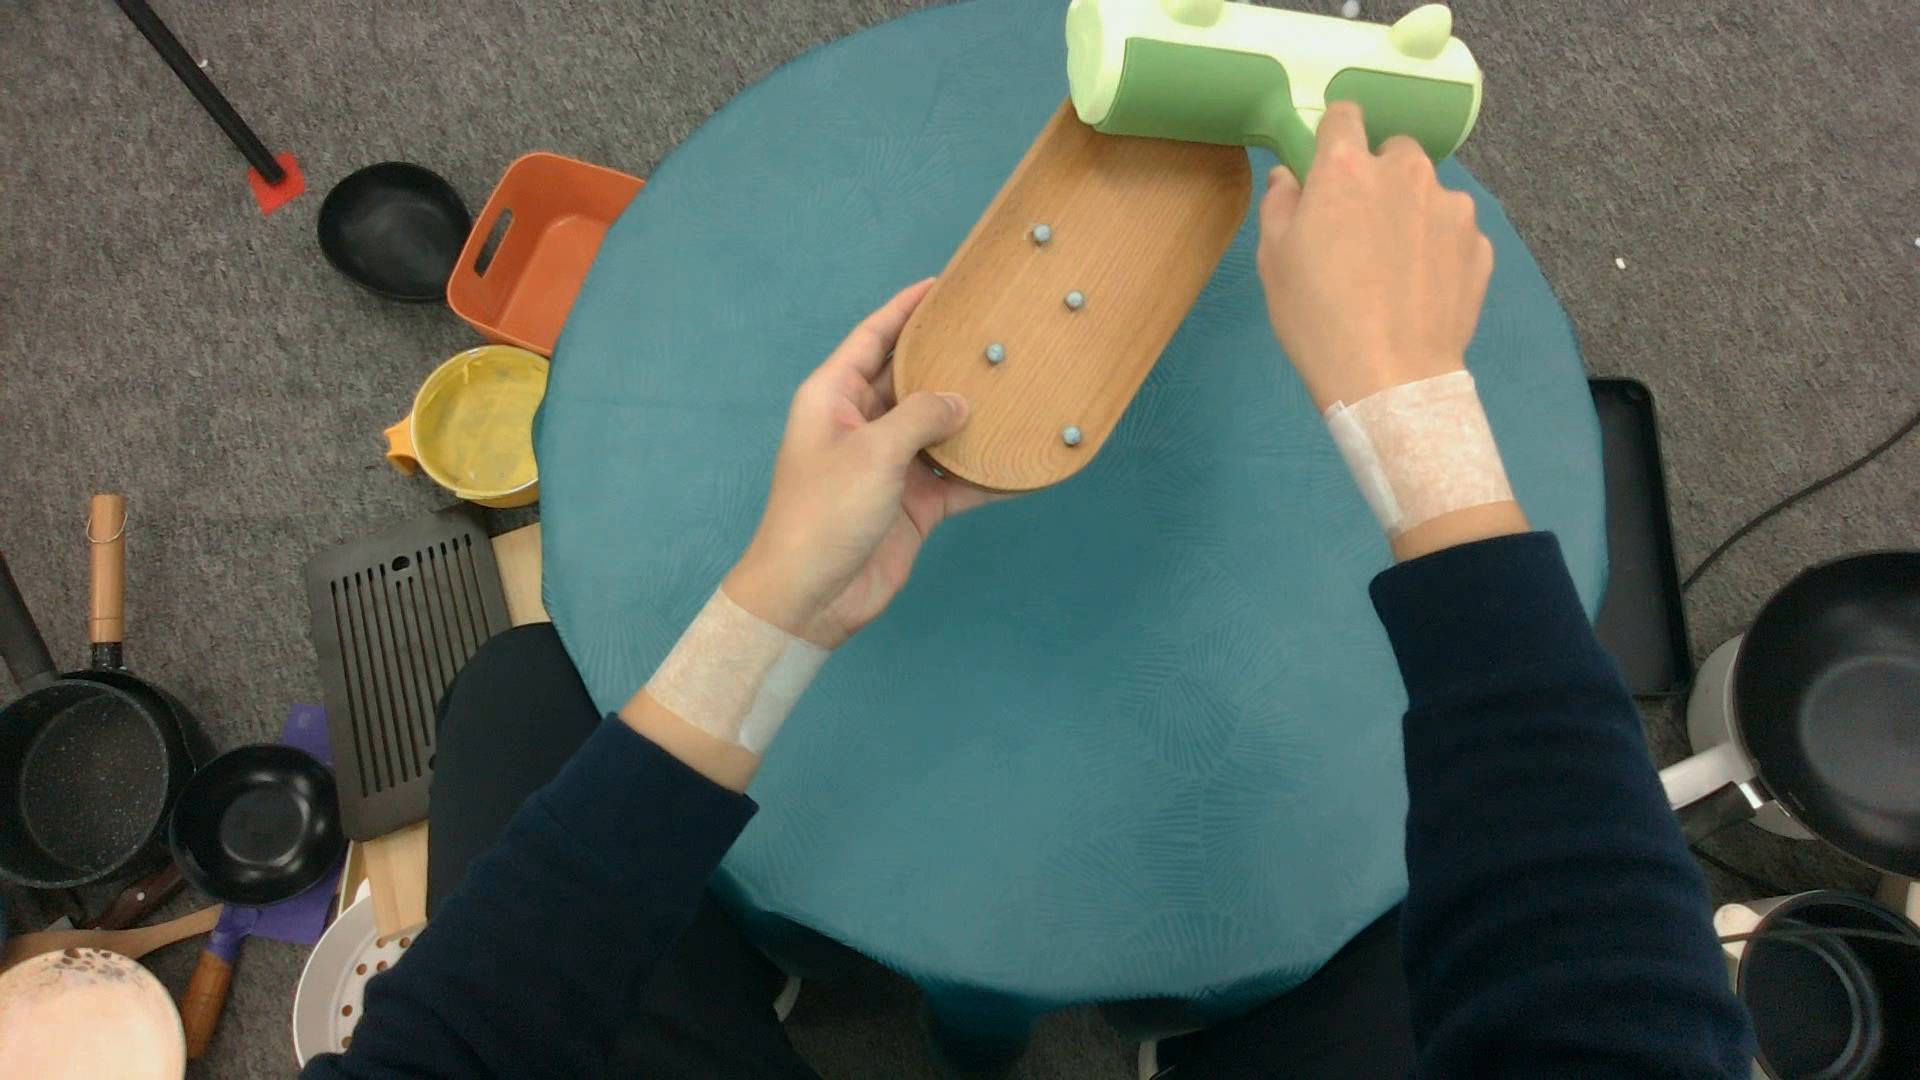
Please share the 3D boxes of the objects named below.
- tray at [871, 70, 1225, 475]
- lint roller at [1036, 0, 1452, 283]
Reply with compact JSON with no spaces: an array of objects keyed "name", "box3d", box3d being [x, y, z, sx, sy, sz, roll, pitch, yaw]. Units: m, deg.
[{"name":"tray","box3d":[0.042,-0.128,0.620,0.101,0.020,0.232,32,68,-4]},{"name":"lint roller","box3d":[0.149,-0.189,0.591,0.199,0.082,0.184,-3,42,-19]}]
